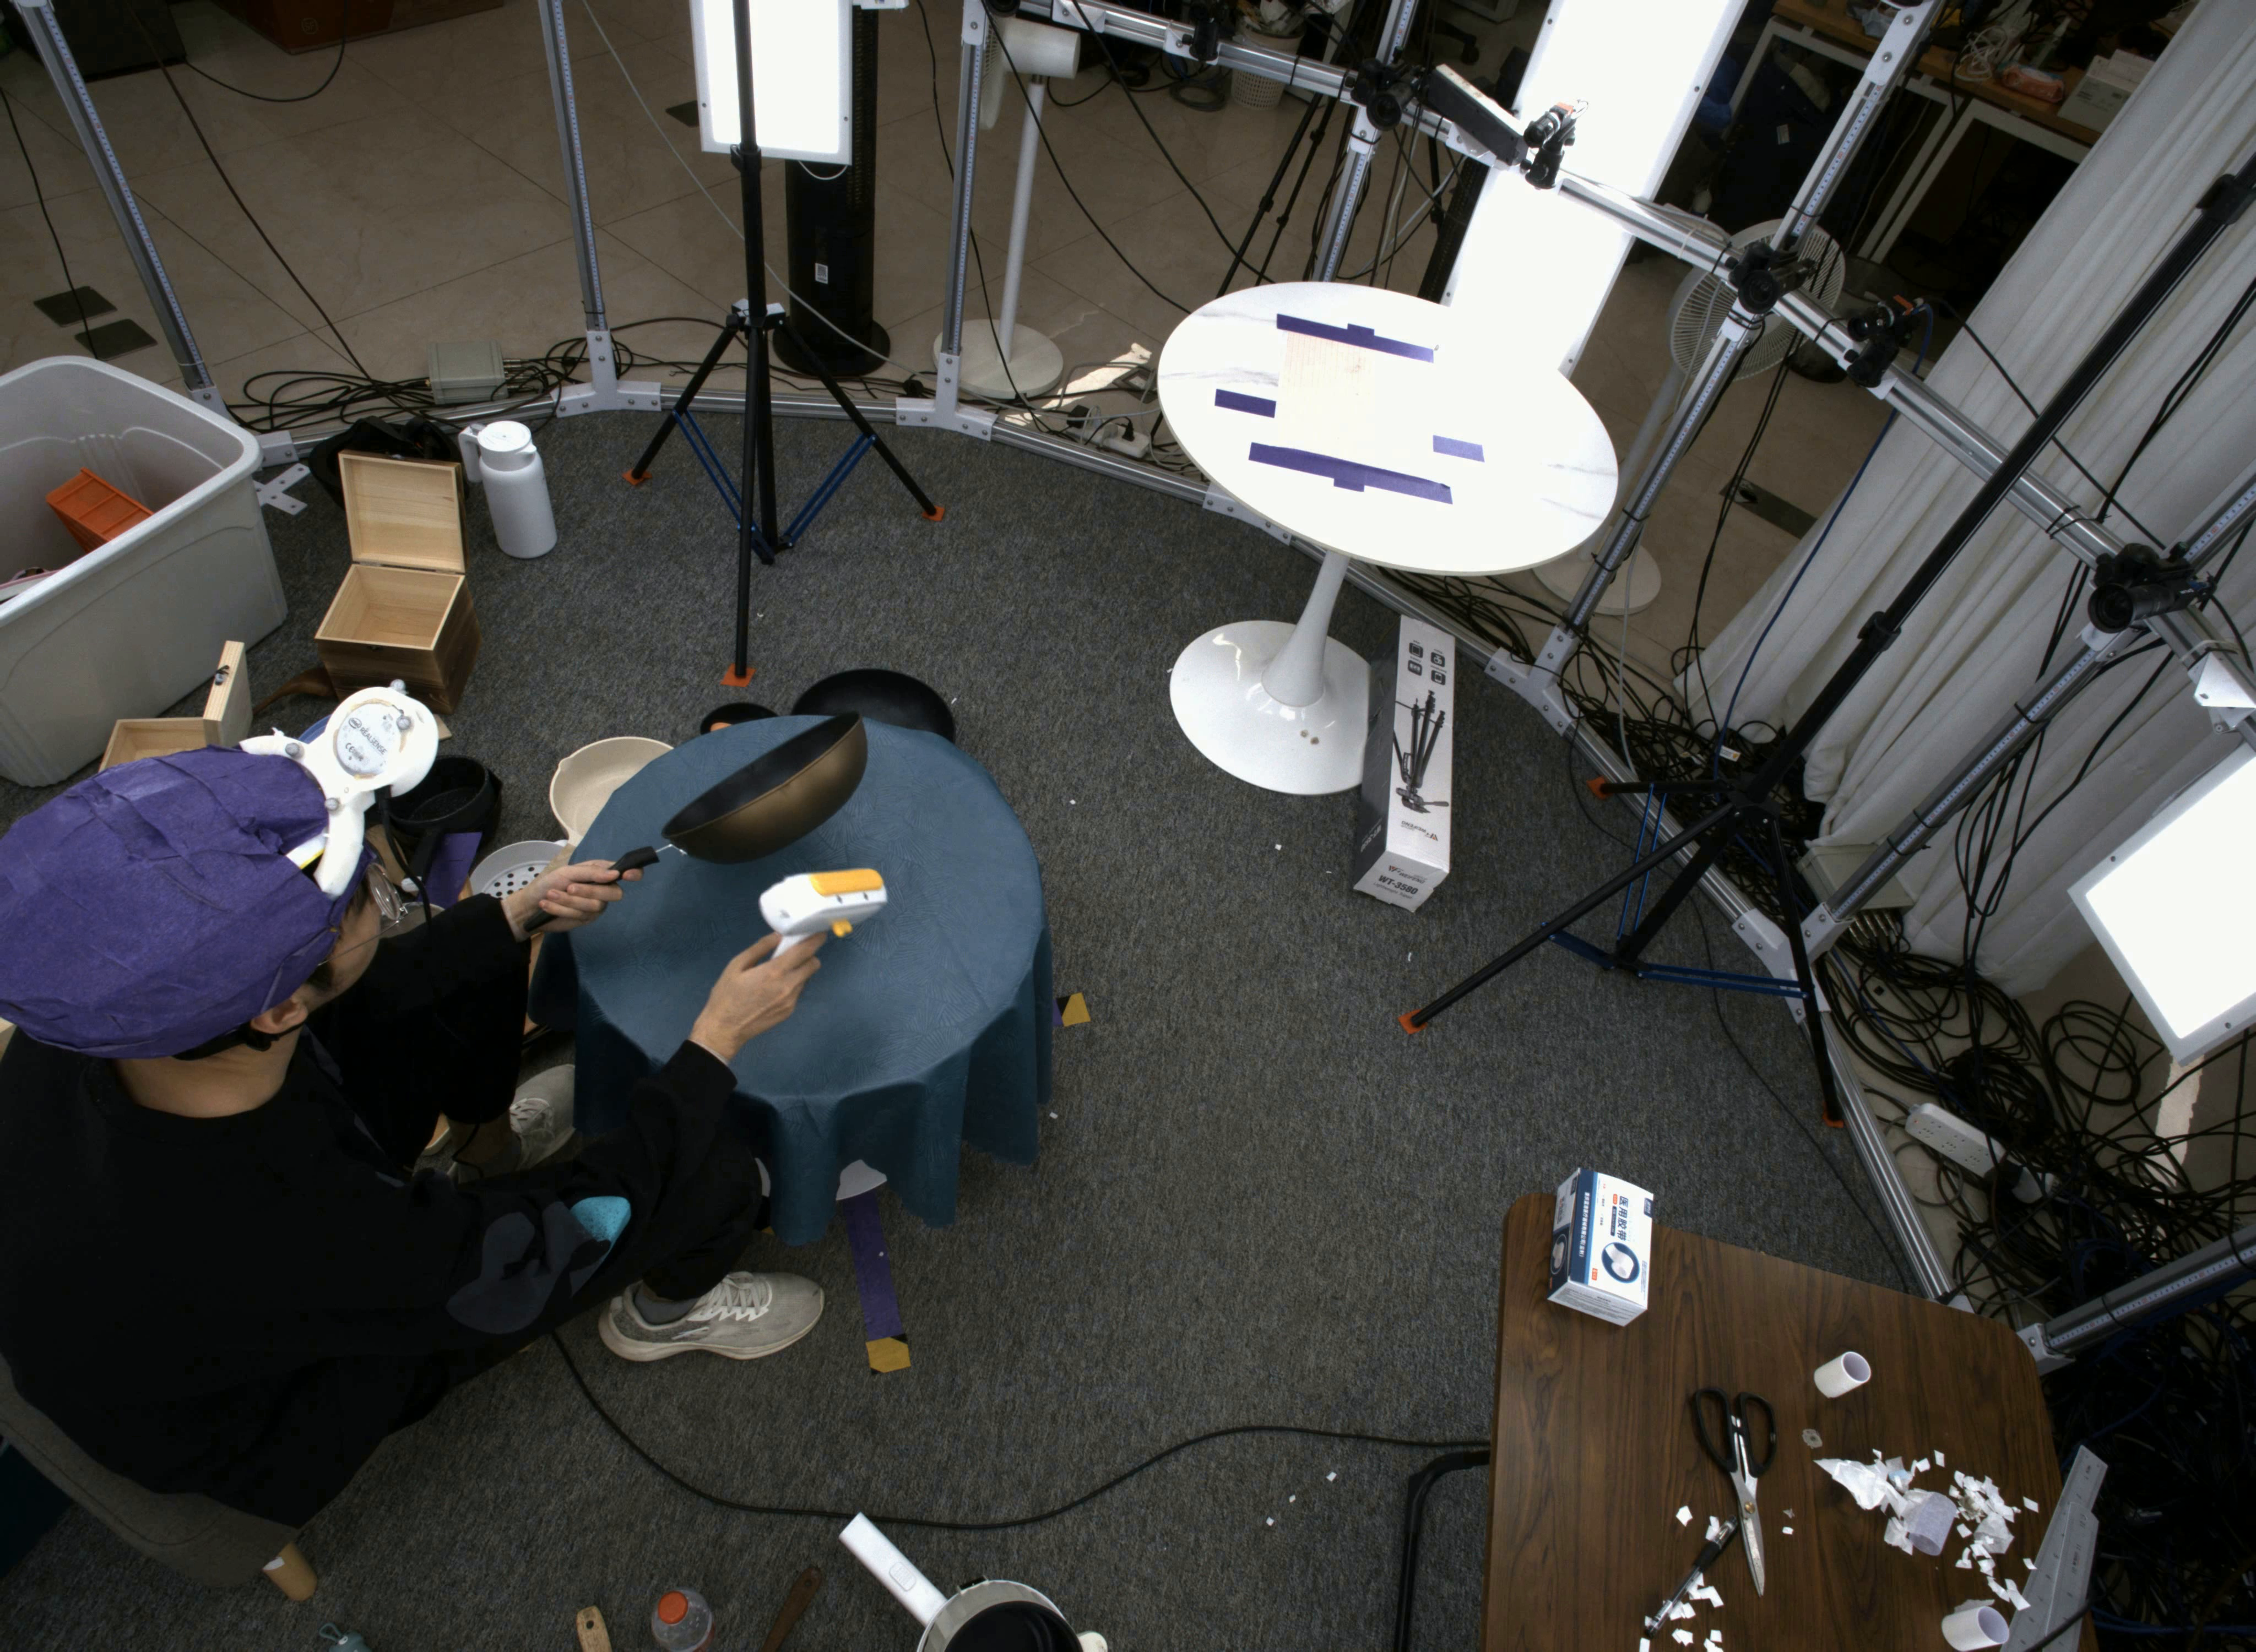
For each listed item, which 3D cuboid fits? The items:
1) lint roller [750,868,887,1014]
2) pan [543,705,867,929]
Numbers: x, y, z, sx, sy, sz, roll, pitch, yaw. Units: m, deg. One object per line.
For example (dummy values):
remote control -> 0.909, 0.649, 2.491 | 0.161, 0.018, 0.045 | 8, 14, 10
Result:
lint roller -> -0.367, 0.126, 1.437 | 0.074, 0.192, 0.194 | 48, 17, 6
pan -> -0.494, 0.013, 1.539 | 0.463, 0.280, 0.089 | -35, 109, -16
